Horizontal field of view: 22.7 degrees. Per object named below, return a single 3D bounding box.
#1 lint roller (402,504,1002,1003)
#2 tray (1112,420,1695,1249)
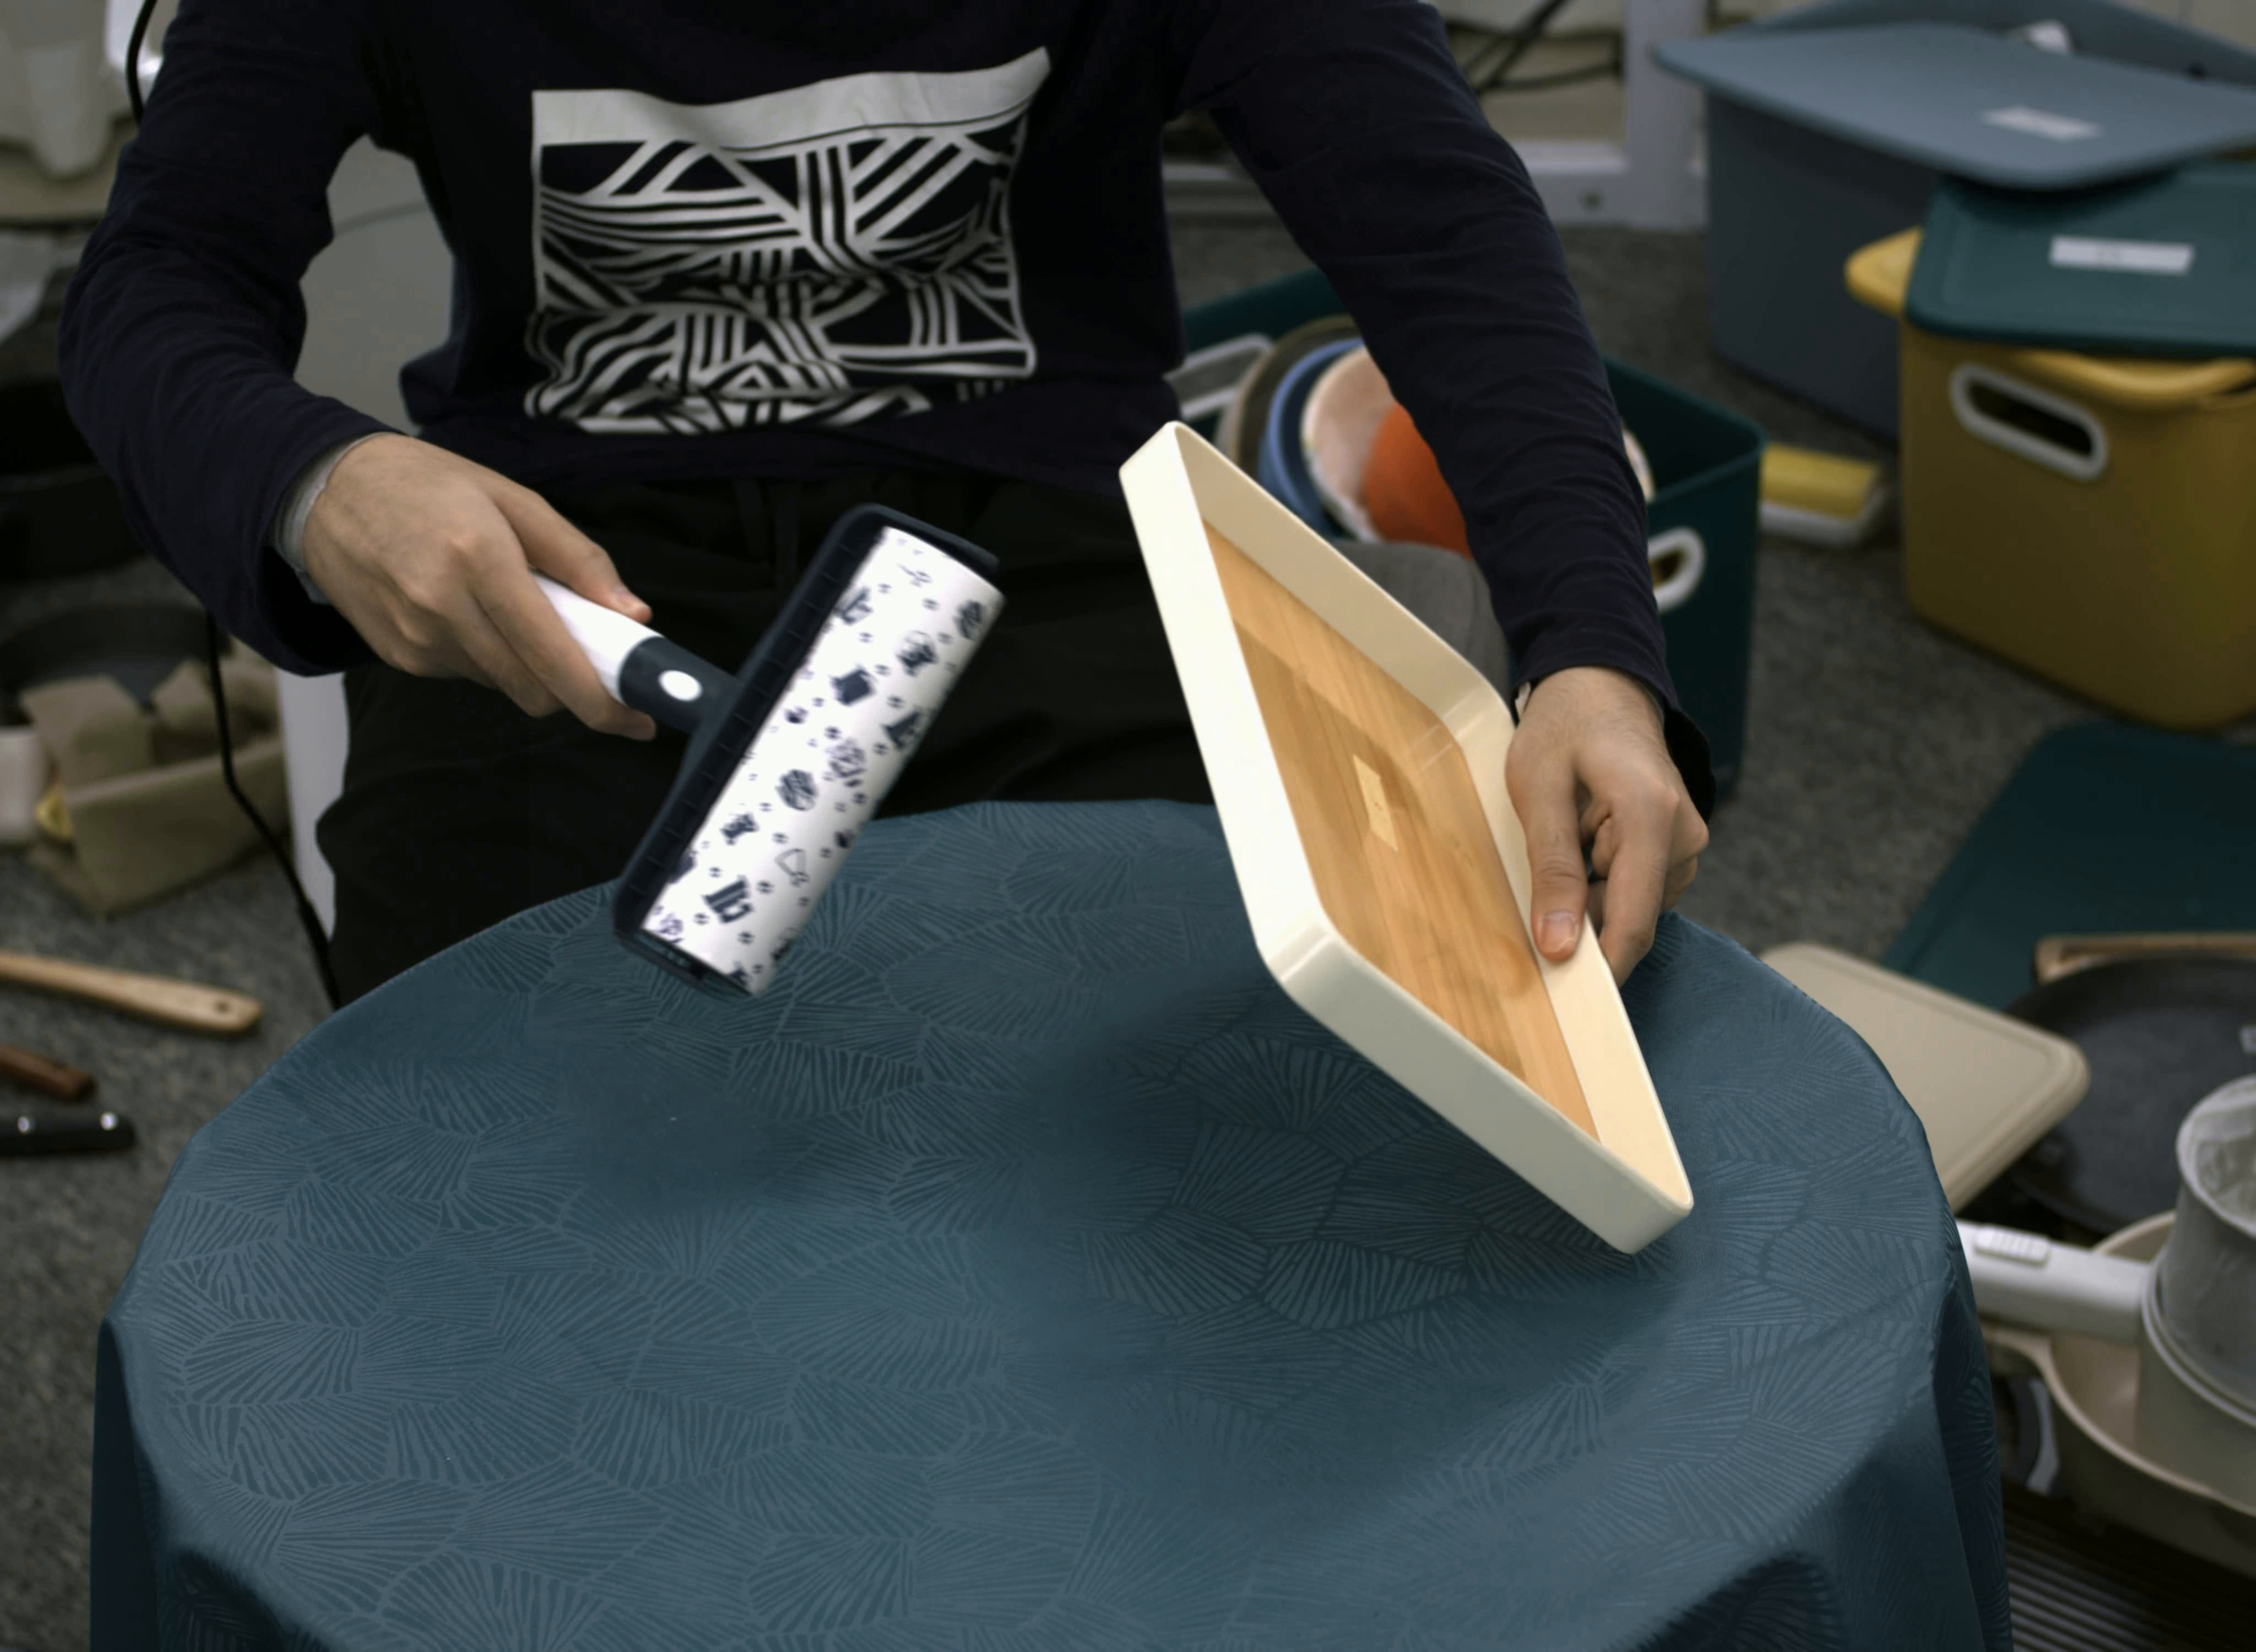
[{"bbox_3d":[-0.174,-0.055,1.955,0.247,0.050,0.178,24,78,37],"label":"lint roller"},{"bbox_3d":[0.087,-0.002,1.870,0.027,0.190,0.305,-42,33,19],"label":"tray"}]
